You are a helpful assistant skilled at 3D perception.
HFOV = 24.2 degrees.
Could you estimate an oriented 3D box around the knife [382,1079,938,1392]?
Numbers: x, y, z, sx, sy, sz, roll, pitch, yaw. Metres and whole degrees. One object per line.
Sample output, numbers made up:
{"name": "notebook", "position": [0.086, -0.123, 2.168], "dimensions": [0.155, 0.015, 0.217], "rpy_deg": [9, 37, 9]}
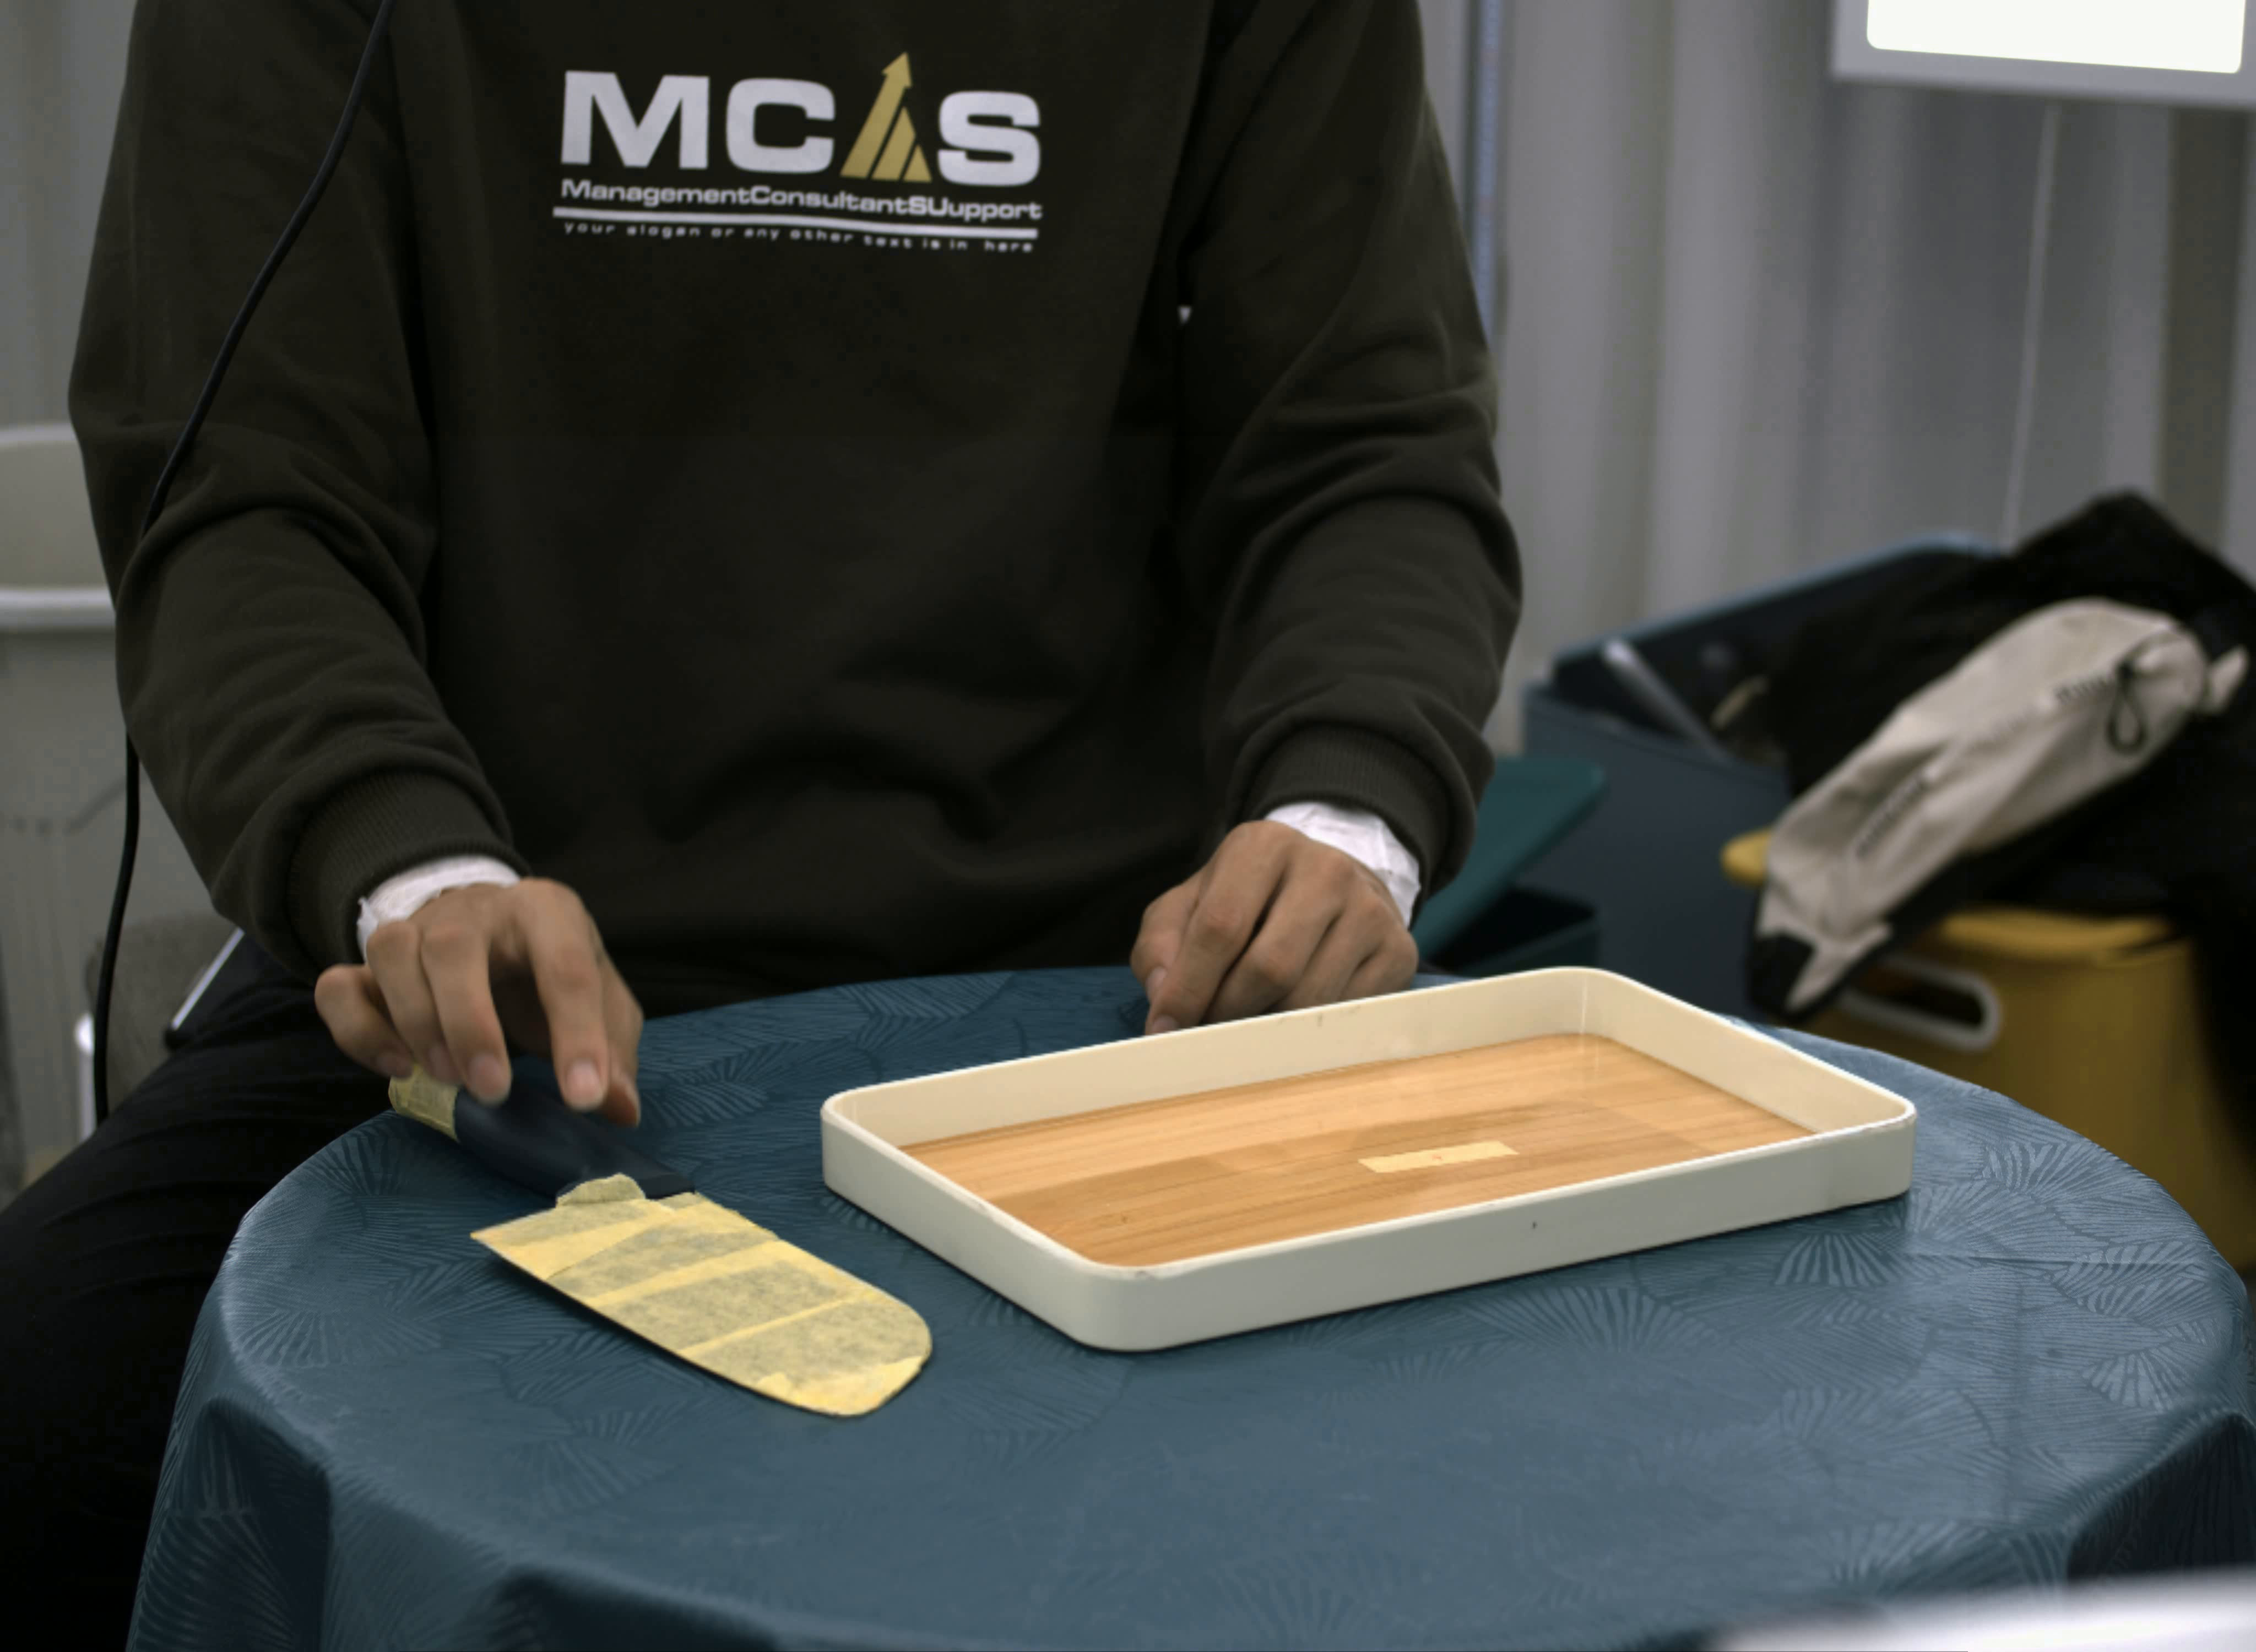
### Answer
{"name": "knife", "position": [-0.151, 0.122, 1.557], "dimensions": [0.081, 0.027, 0.285], "rpy_deg": [-11, 20, -36]}

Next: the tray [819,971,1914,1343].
{"name": "tray", "position": [0.074, 0.098, 1.629], "dimensions": [0.301, 0.027, 0.189], "rpy_deg": [-8, 17, -30]}
